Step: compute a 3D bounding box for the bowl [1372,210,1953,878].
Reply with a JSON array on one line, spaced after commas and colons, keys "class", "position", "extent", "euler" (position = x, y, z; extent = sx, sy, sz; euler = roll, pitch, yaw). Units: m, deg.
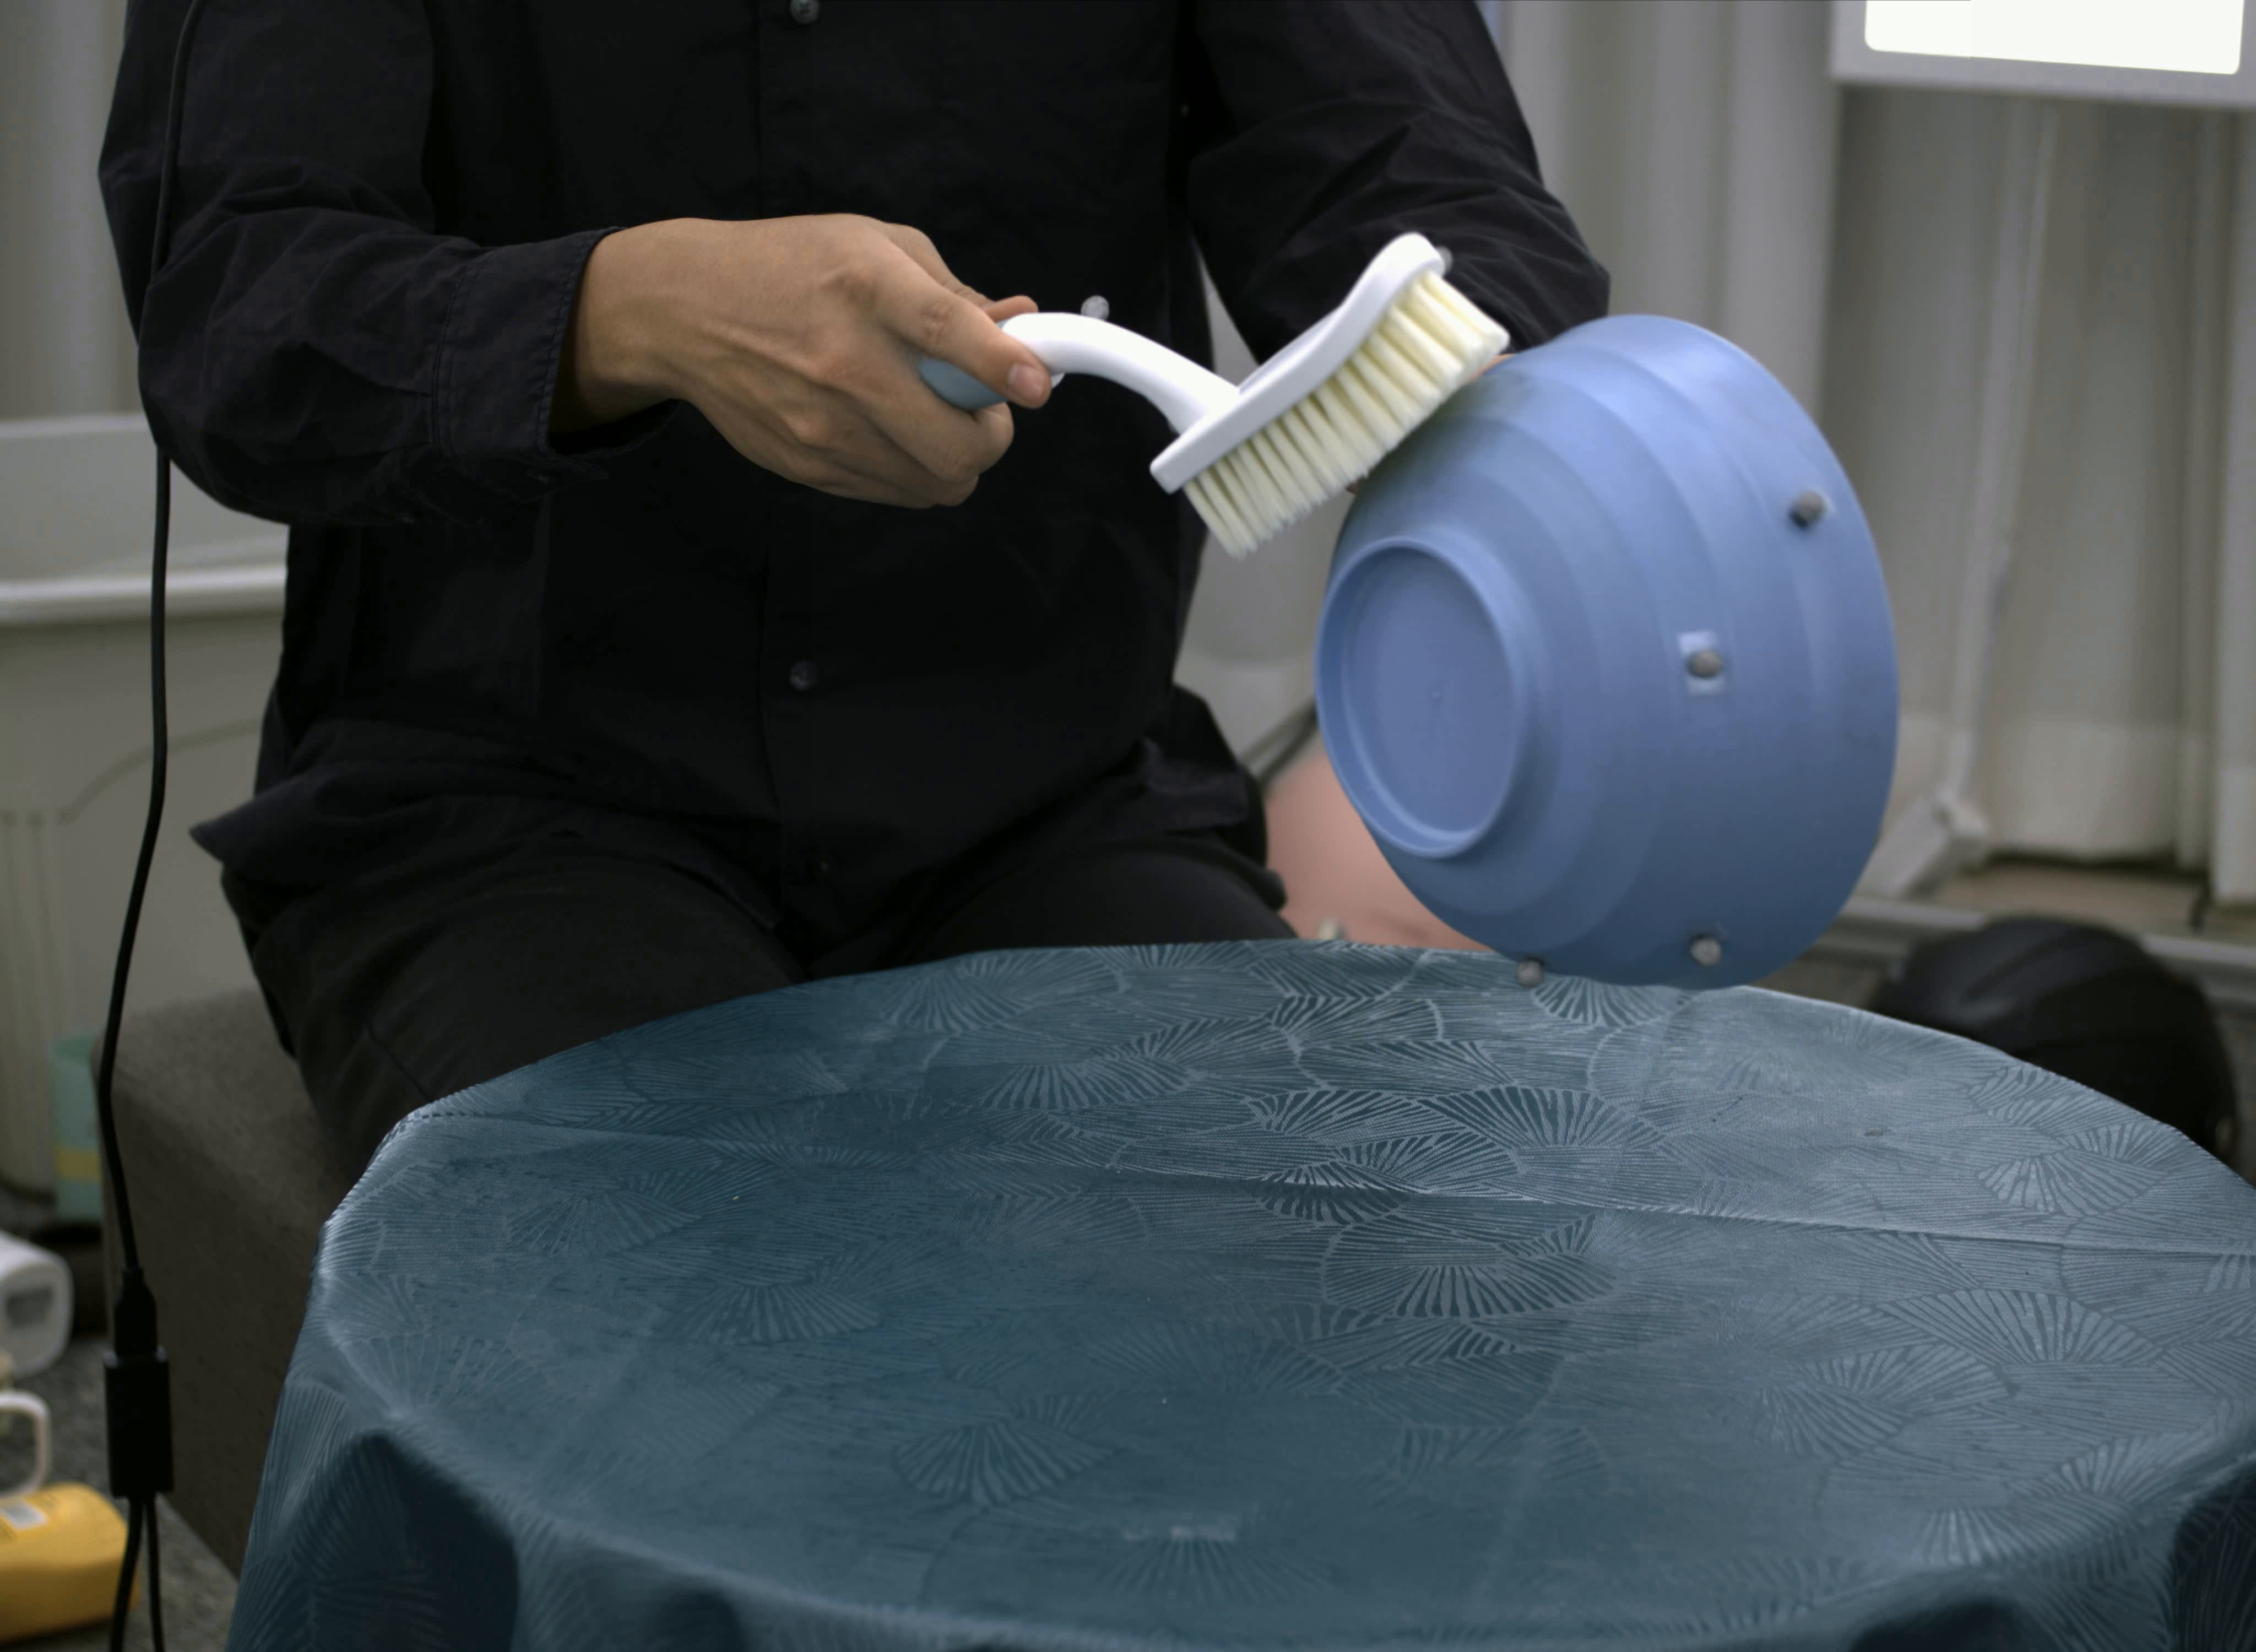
[{"class": "bowl", "position": [0.135, -0.075, 1.517], "extent": [0.096, 0.198, 0.194], "euler": [-12, 20, -36]}]

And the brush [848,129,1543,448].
[{"class": "brush", "position": [0.023, -0.148, 1.612], "extent": [0.083, 0.084, 0.322], "euler": [2, -6, -34]}]
